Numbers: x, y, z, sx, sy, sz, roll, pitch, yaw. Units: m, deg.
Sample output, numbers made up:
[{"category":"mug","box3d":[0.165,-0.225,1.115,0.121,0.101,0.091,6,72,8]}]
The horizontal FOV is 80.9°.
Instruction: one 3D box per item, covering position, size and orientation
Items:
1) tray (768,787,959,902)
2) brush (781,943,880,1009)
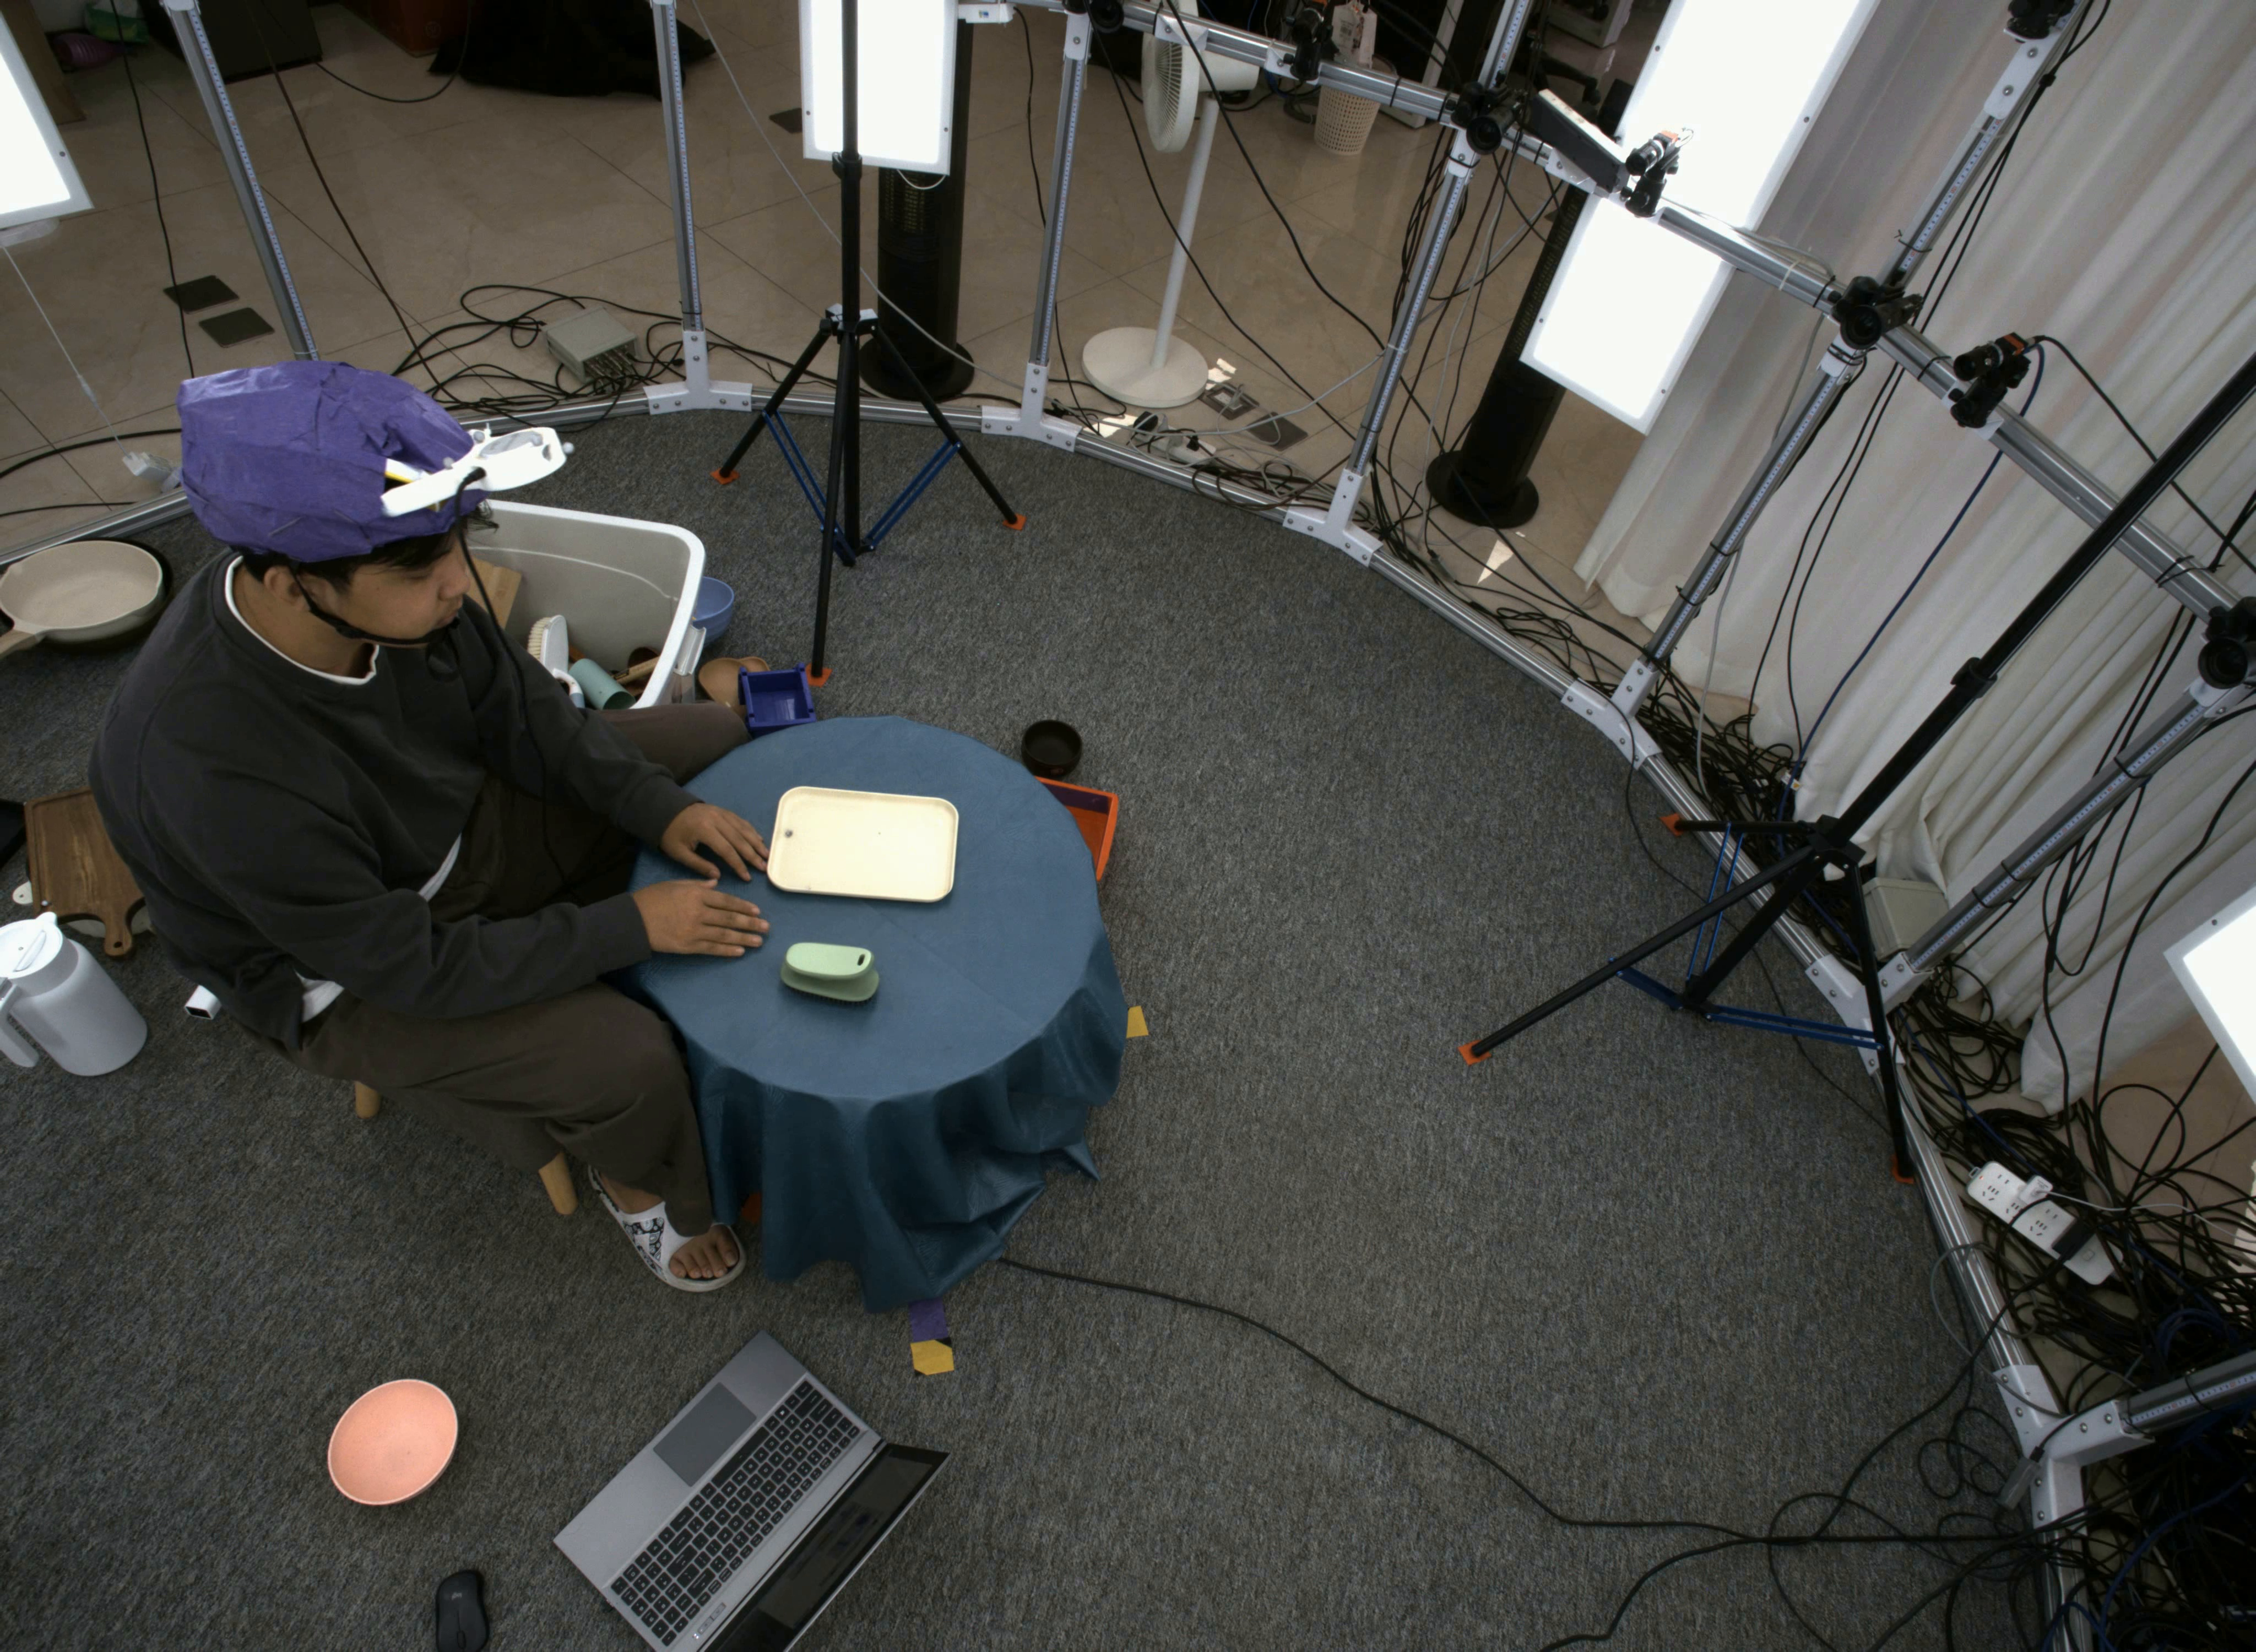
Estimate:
[{"category":"tray","box3d":[-0.345,0.024,1.710,0.239,0.018,0.168,5,52,-10]},{"category":"brush","box3d":[-0.358,0.177,1.569,0.121,0.078,0.059,3,49,6]}]
